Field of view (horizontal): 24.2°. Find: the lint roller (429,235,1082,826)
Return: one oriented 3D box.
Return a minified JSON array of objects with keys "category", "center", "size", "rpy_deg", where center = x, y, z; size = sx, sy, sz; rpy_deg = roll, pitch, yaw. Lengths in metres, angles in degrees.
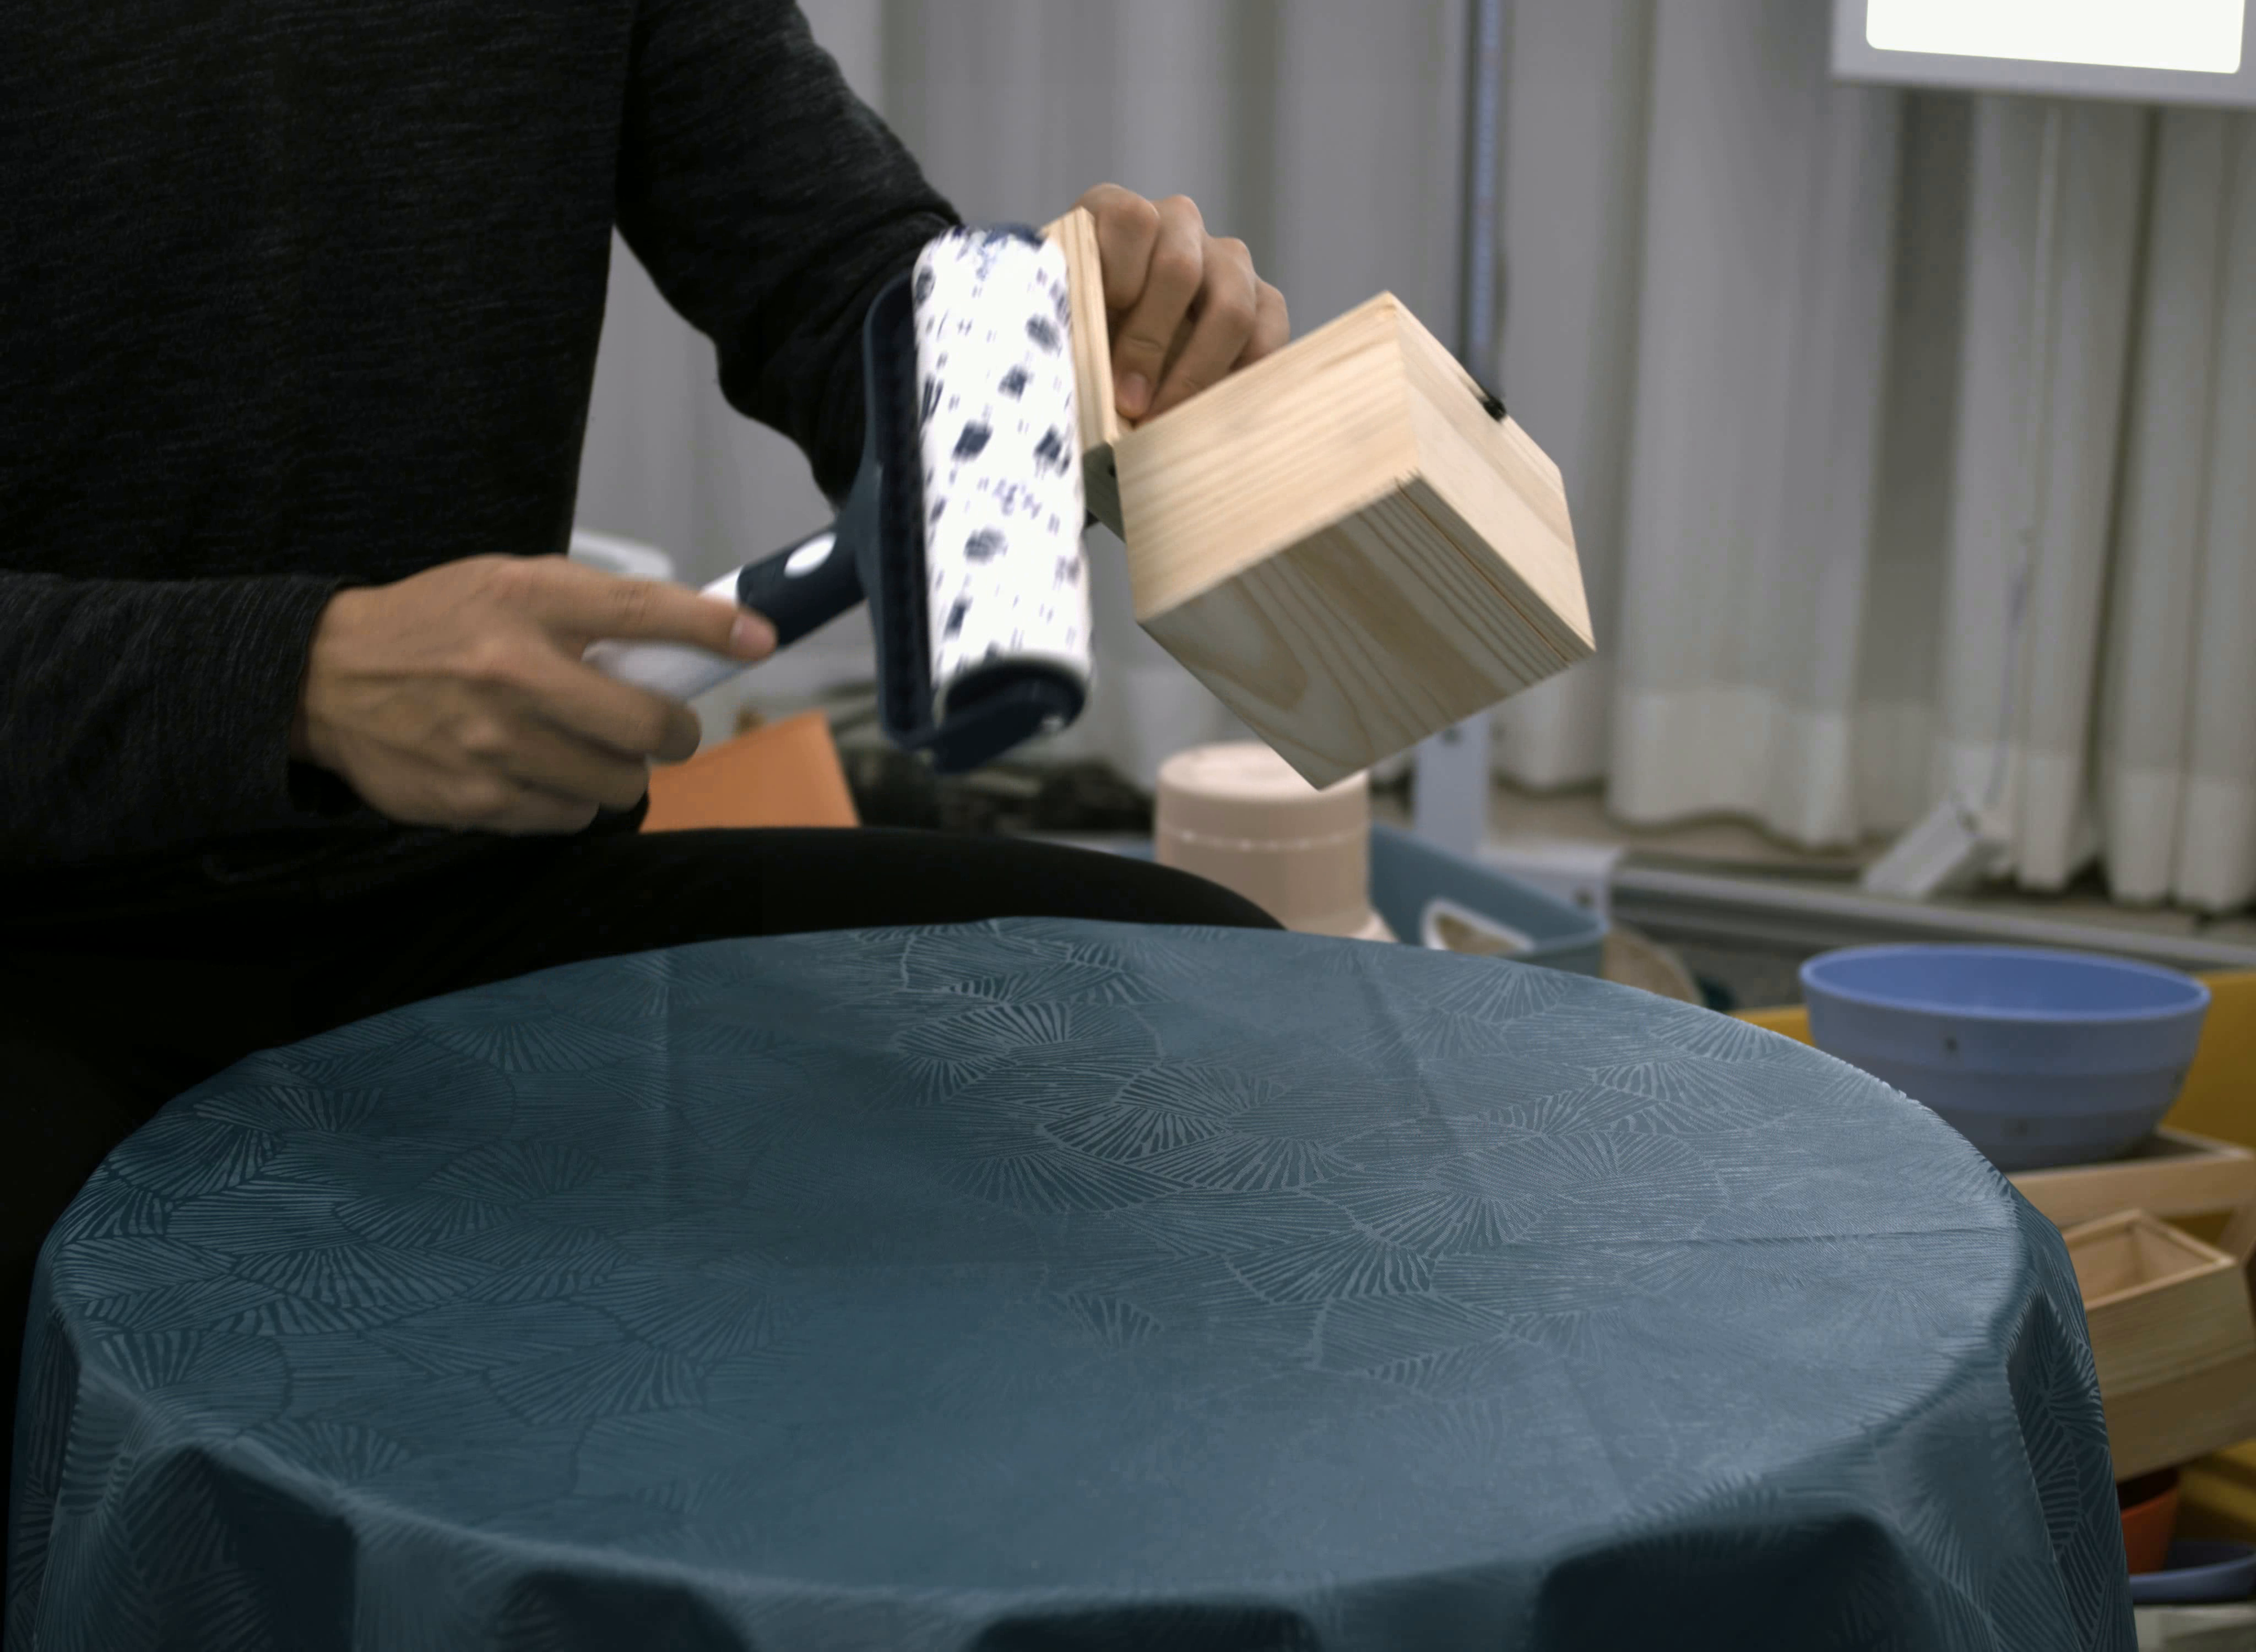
[{"category":"lint roller","center":[-0.120,-0.057,1.578],"size":[0.246,0.175,0.051],"rpy_deg":[-24,-37,27]}]

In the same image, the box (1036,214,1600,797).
[{"category":"box","center":[0.057,-0.119,1.625],"size":[0.133,0.104,0.182],"rpy_deg":[-27,46,21]}]
